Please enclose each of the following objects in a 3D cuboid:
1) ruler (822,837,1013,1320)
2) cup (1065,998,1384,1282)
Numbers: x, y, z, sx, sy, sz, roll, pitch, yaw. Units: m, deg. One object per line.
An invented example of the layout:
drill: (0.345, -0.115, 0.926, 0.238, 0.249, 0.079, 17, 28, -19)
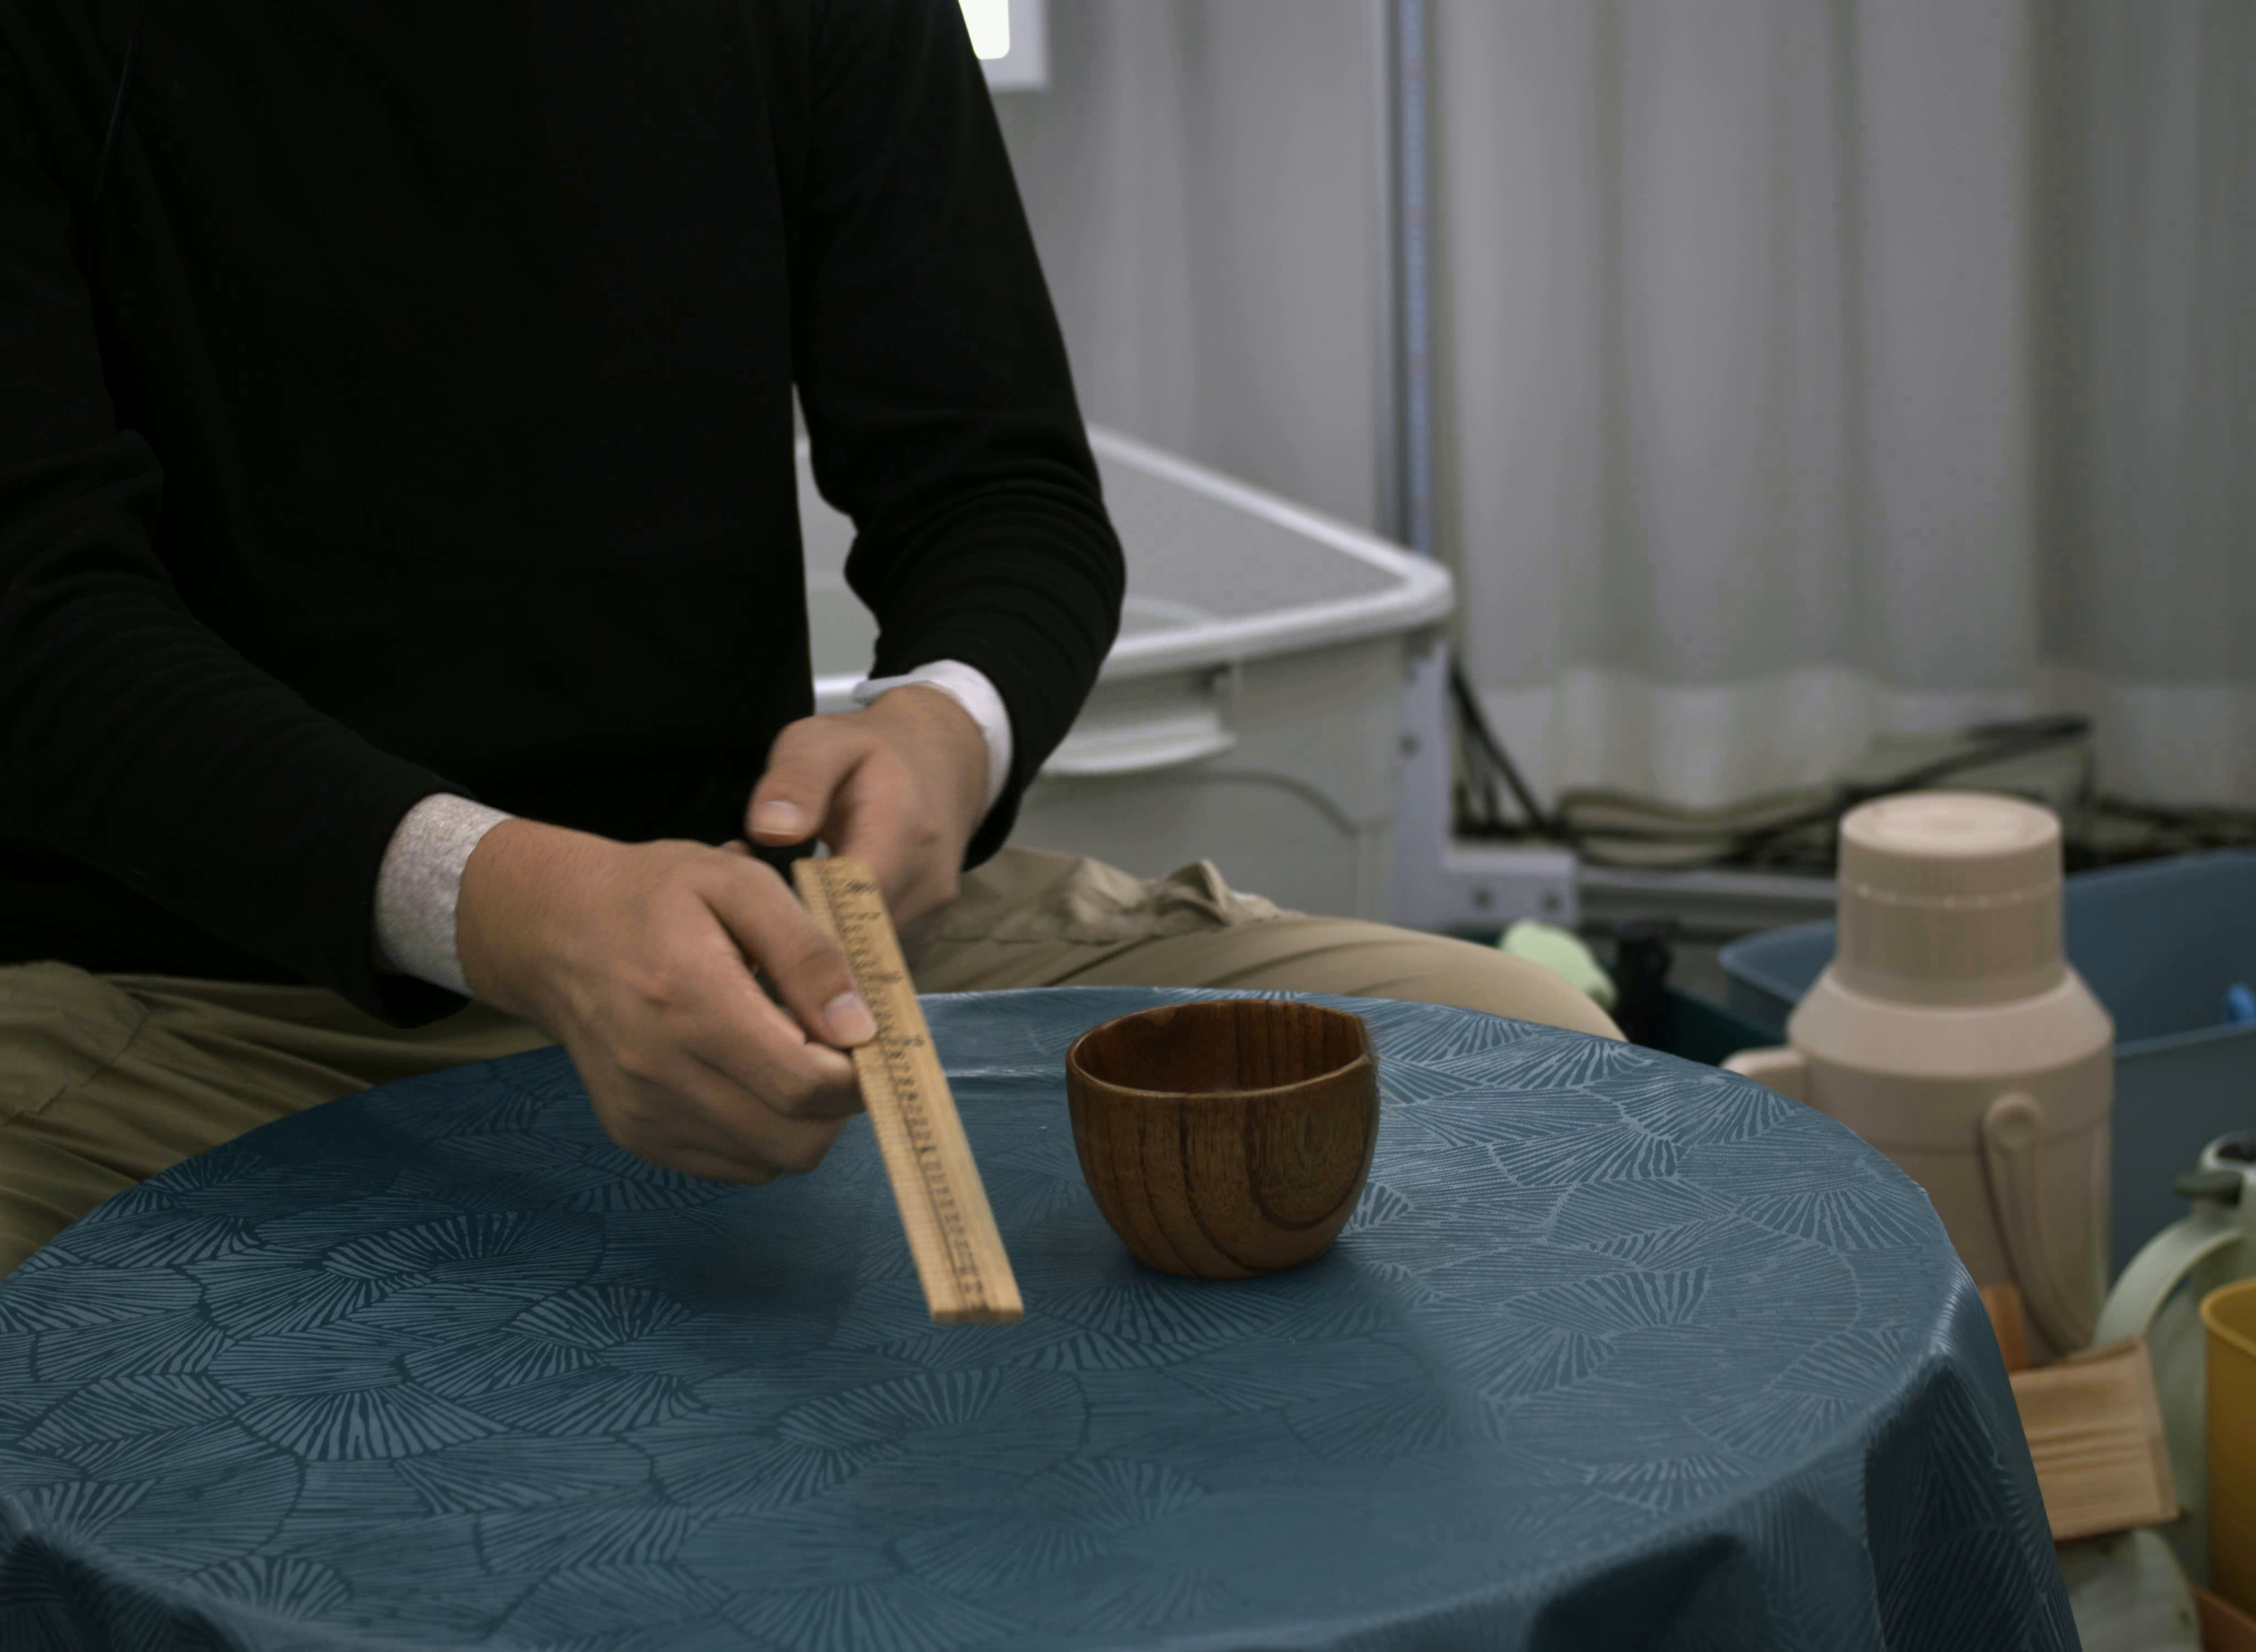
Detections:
ruler: (-0.064, 0.065, 1.597, 0.027, 0.022, 0.335, 5, 20, -10)
cup: (0.026, 0.094, 1.662, 0.096, 0.067, 0.120, -11, 15, -23)
